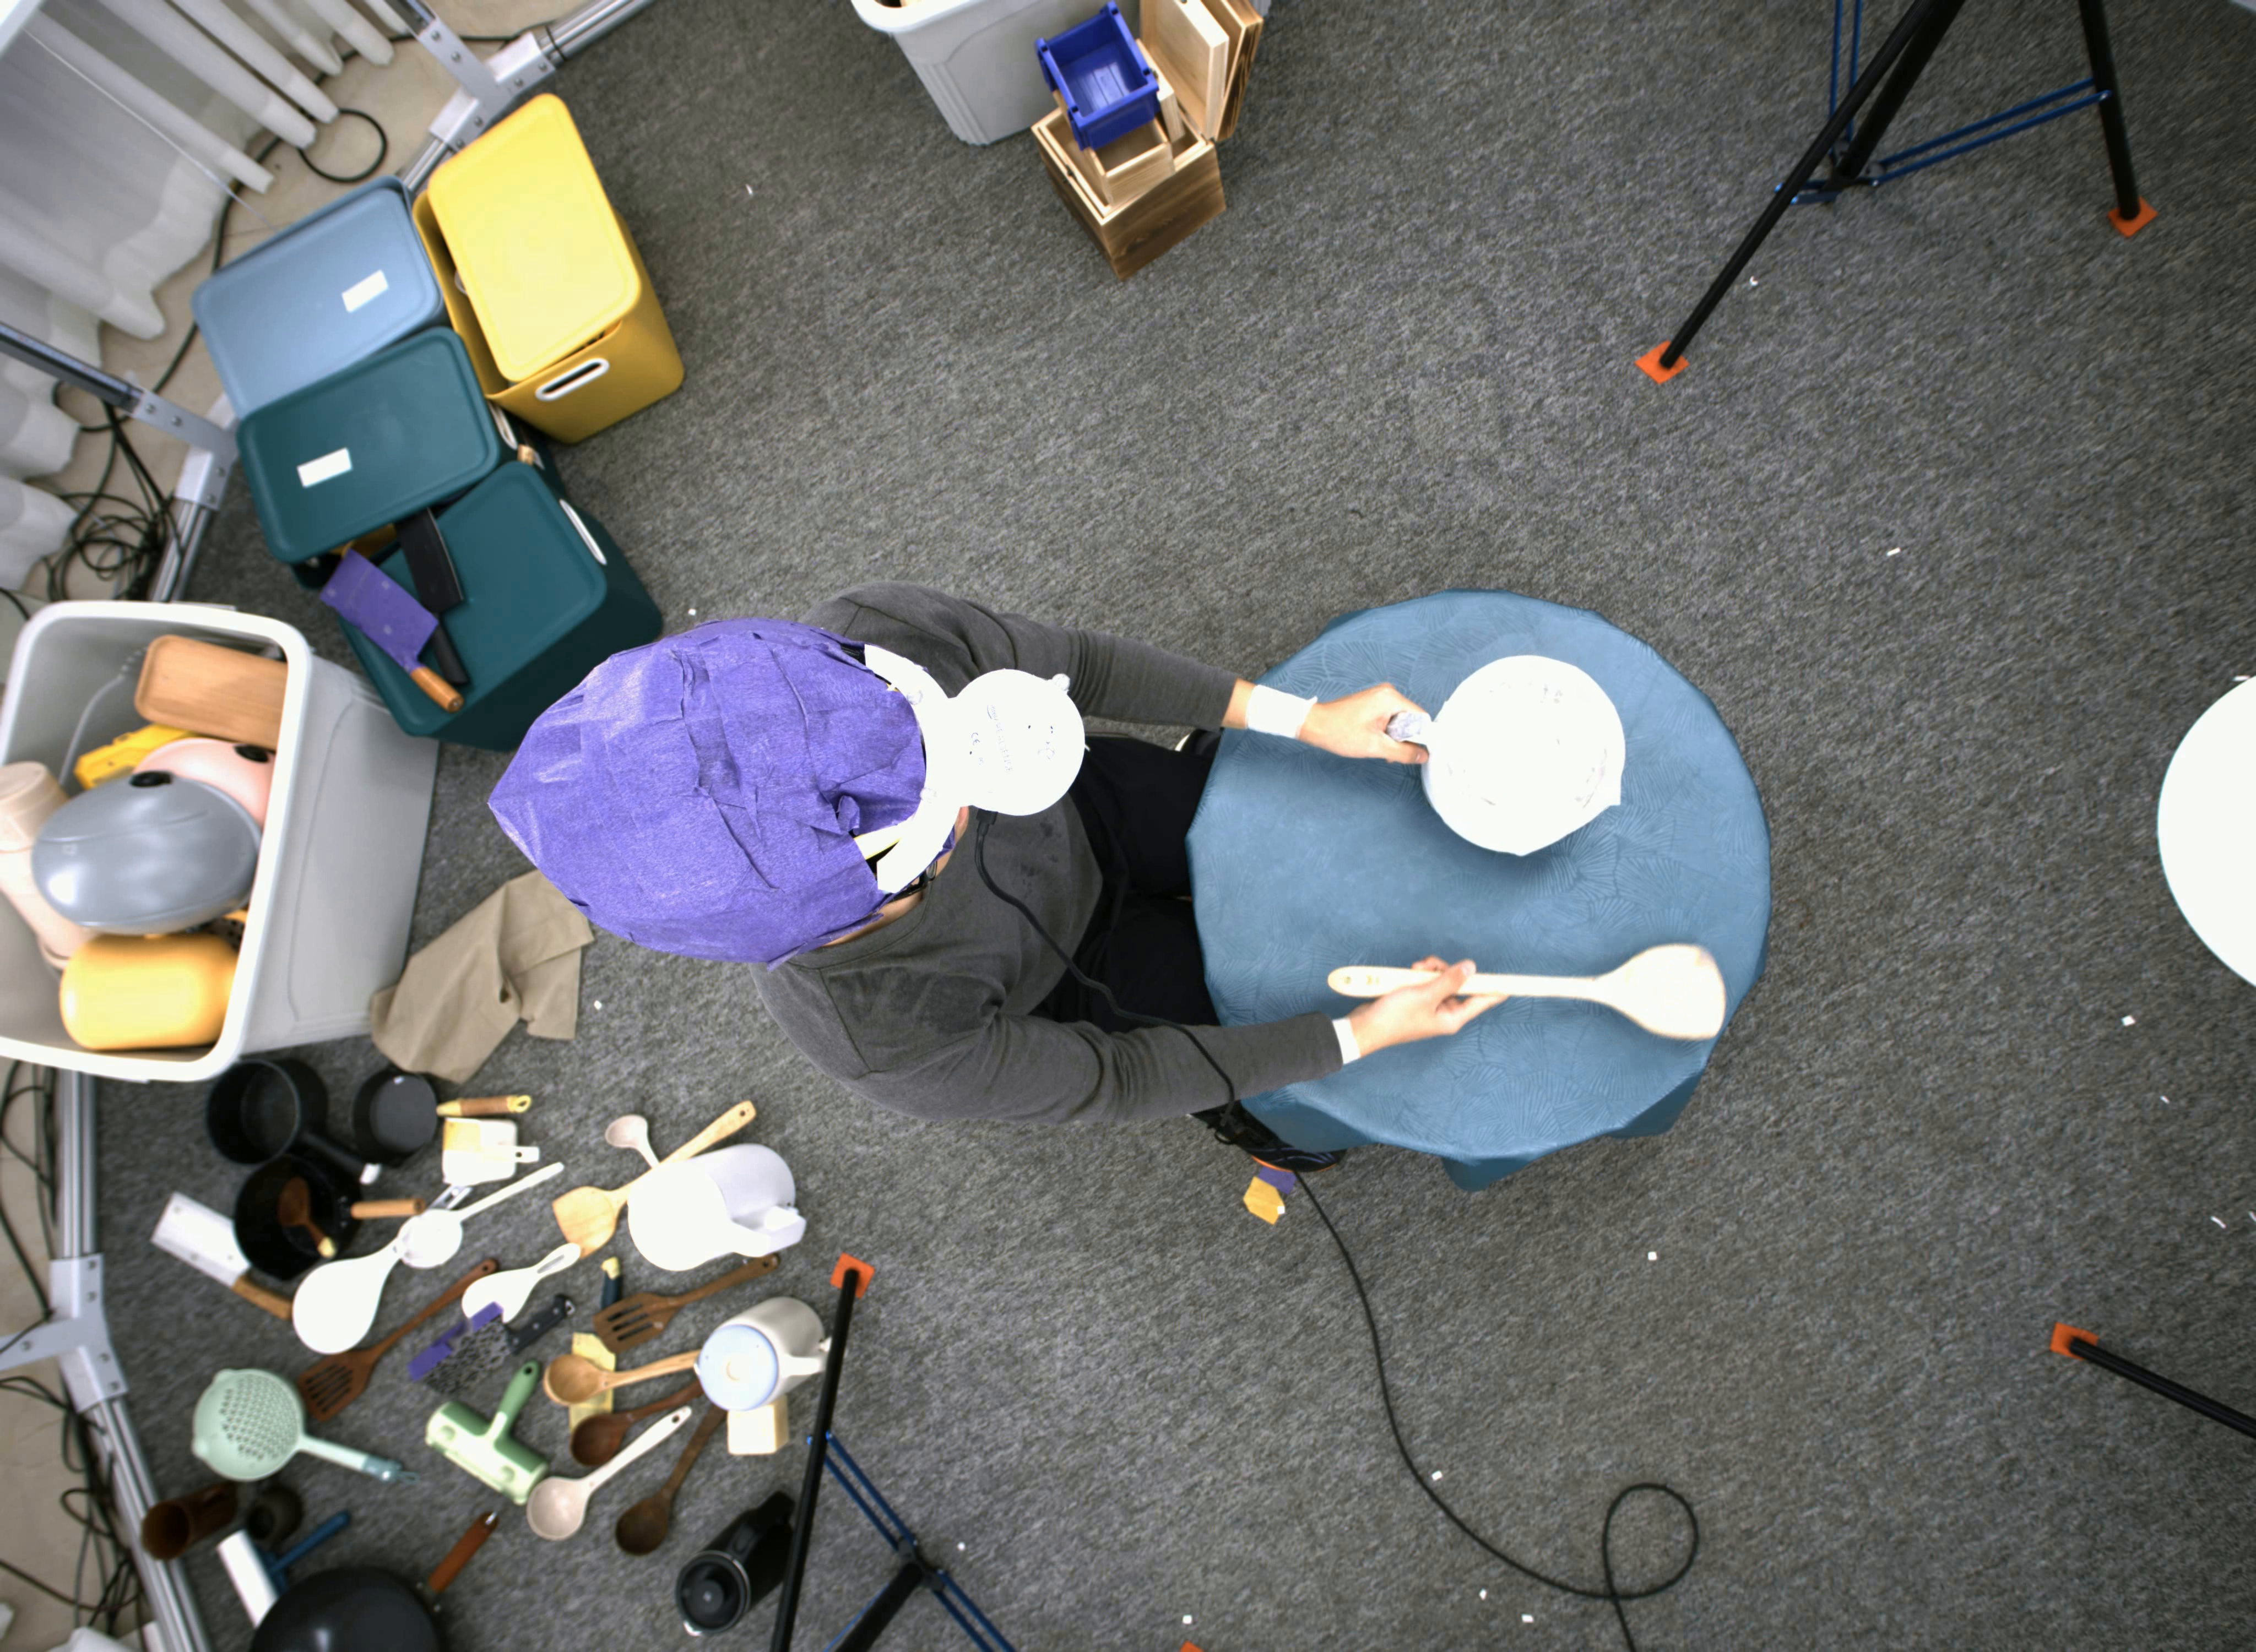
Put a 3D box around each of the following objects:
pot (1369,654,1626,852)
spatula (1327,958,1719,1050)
[{"bbox_3d":[0.357,-0.074,1.353,0.234,0.137,0.177,12,84,6],"label":"pot"},{"bbox_3d":[0.393,0.168,1.372,0.391,0.019,0.094,3,66,0],"label":"spatula"}]
